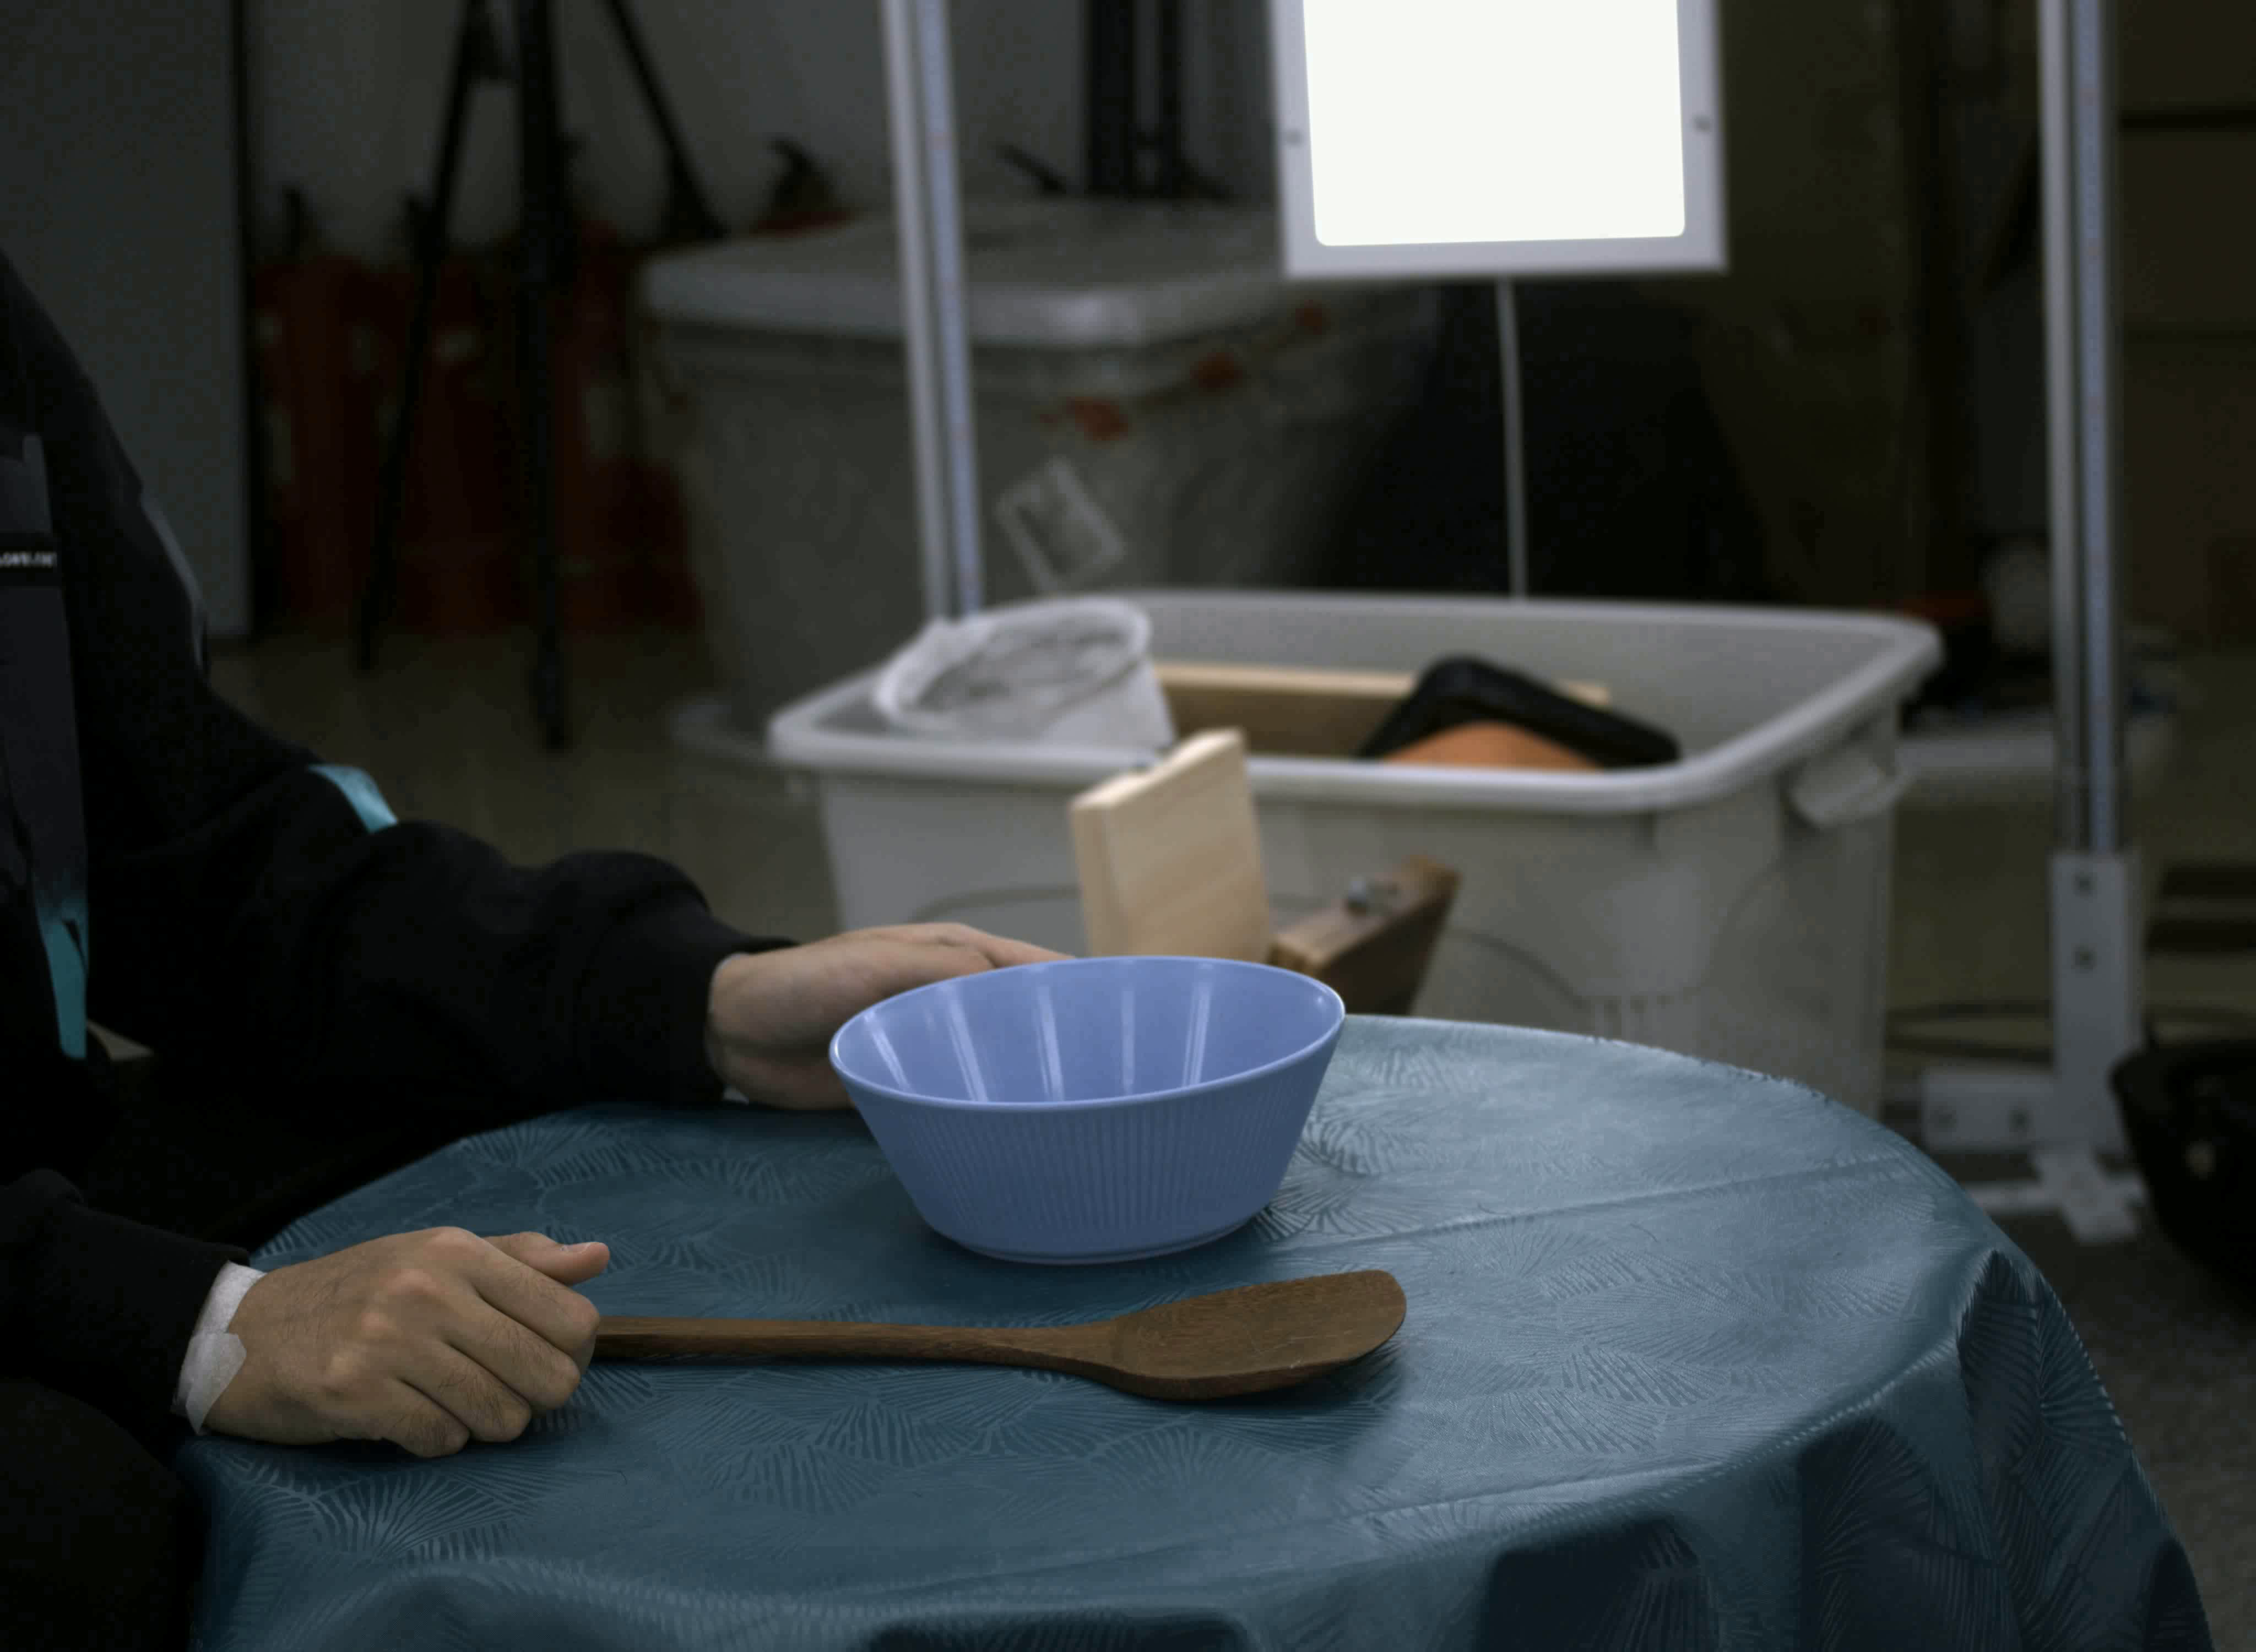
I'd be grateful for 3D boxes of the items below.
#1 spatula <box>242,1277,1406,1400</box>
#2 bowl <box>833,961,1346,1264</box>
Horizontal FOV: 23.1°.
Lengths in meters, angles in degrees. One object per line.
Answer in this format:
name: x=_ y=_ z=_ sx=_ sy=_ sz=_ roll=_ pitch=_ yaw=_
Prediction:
spatula: x=-0.102 y=0.163 z=1.756 sx=0.389 sy=0.016 sz=0.095 roll=-1 pitch=14 yaw=15
bowl: x=-0.010 y=0.099 z=1.866 sx=0.175 sy=0.070 sz=0.176 roll=-6 pitch=13 yaw=0
